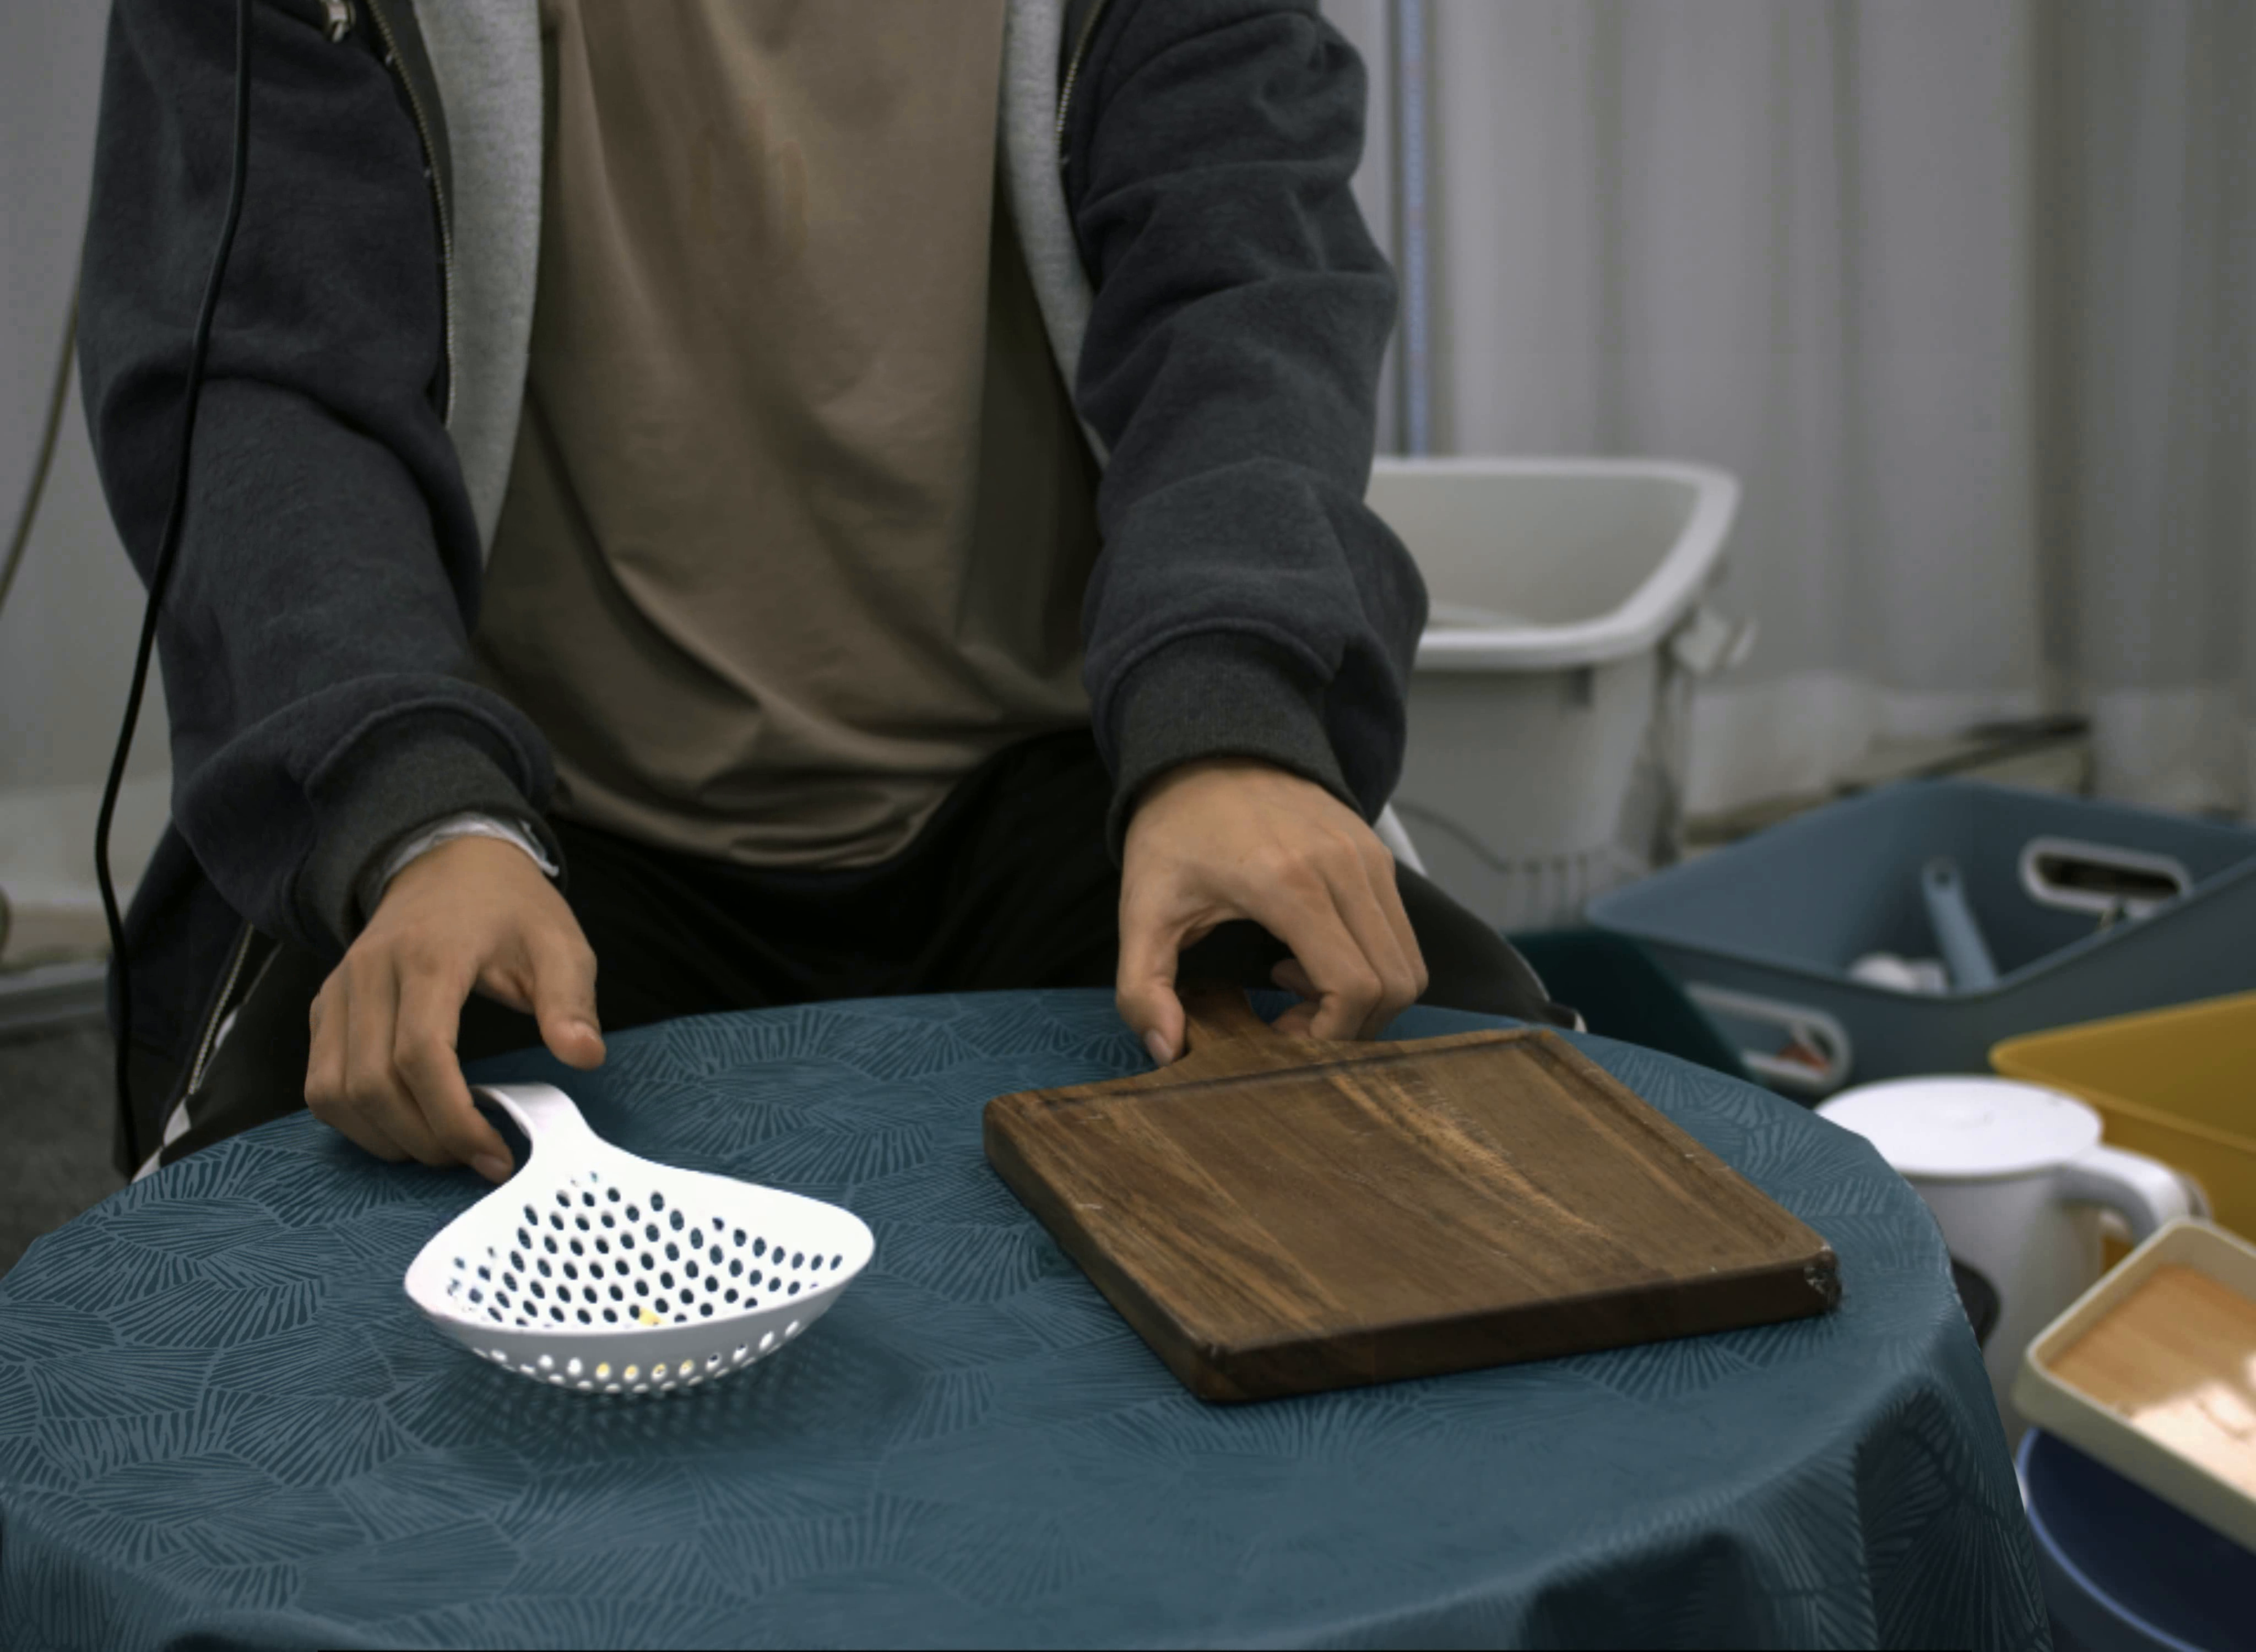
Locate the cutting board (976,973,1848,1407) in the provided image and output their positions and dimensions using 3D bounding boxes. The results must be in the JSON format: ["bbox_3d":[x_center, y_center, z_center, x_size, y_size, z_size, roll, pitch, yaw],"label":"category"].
[{"bbox_3d":[0.066,0.102,1.711,0.200,0.023,0.355,-6,16,-15],"label":"cutting board"}]

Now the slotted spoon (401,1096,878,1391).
[{"bbox_3d":[-0.170,0.113,1.674,0.136,0.050,0.351,-9,16,-14],"label":"slotted spoon"}]
